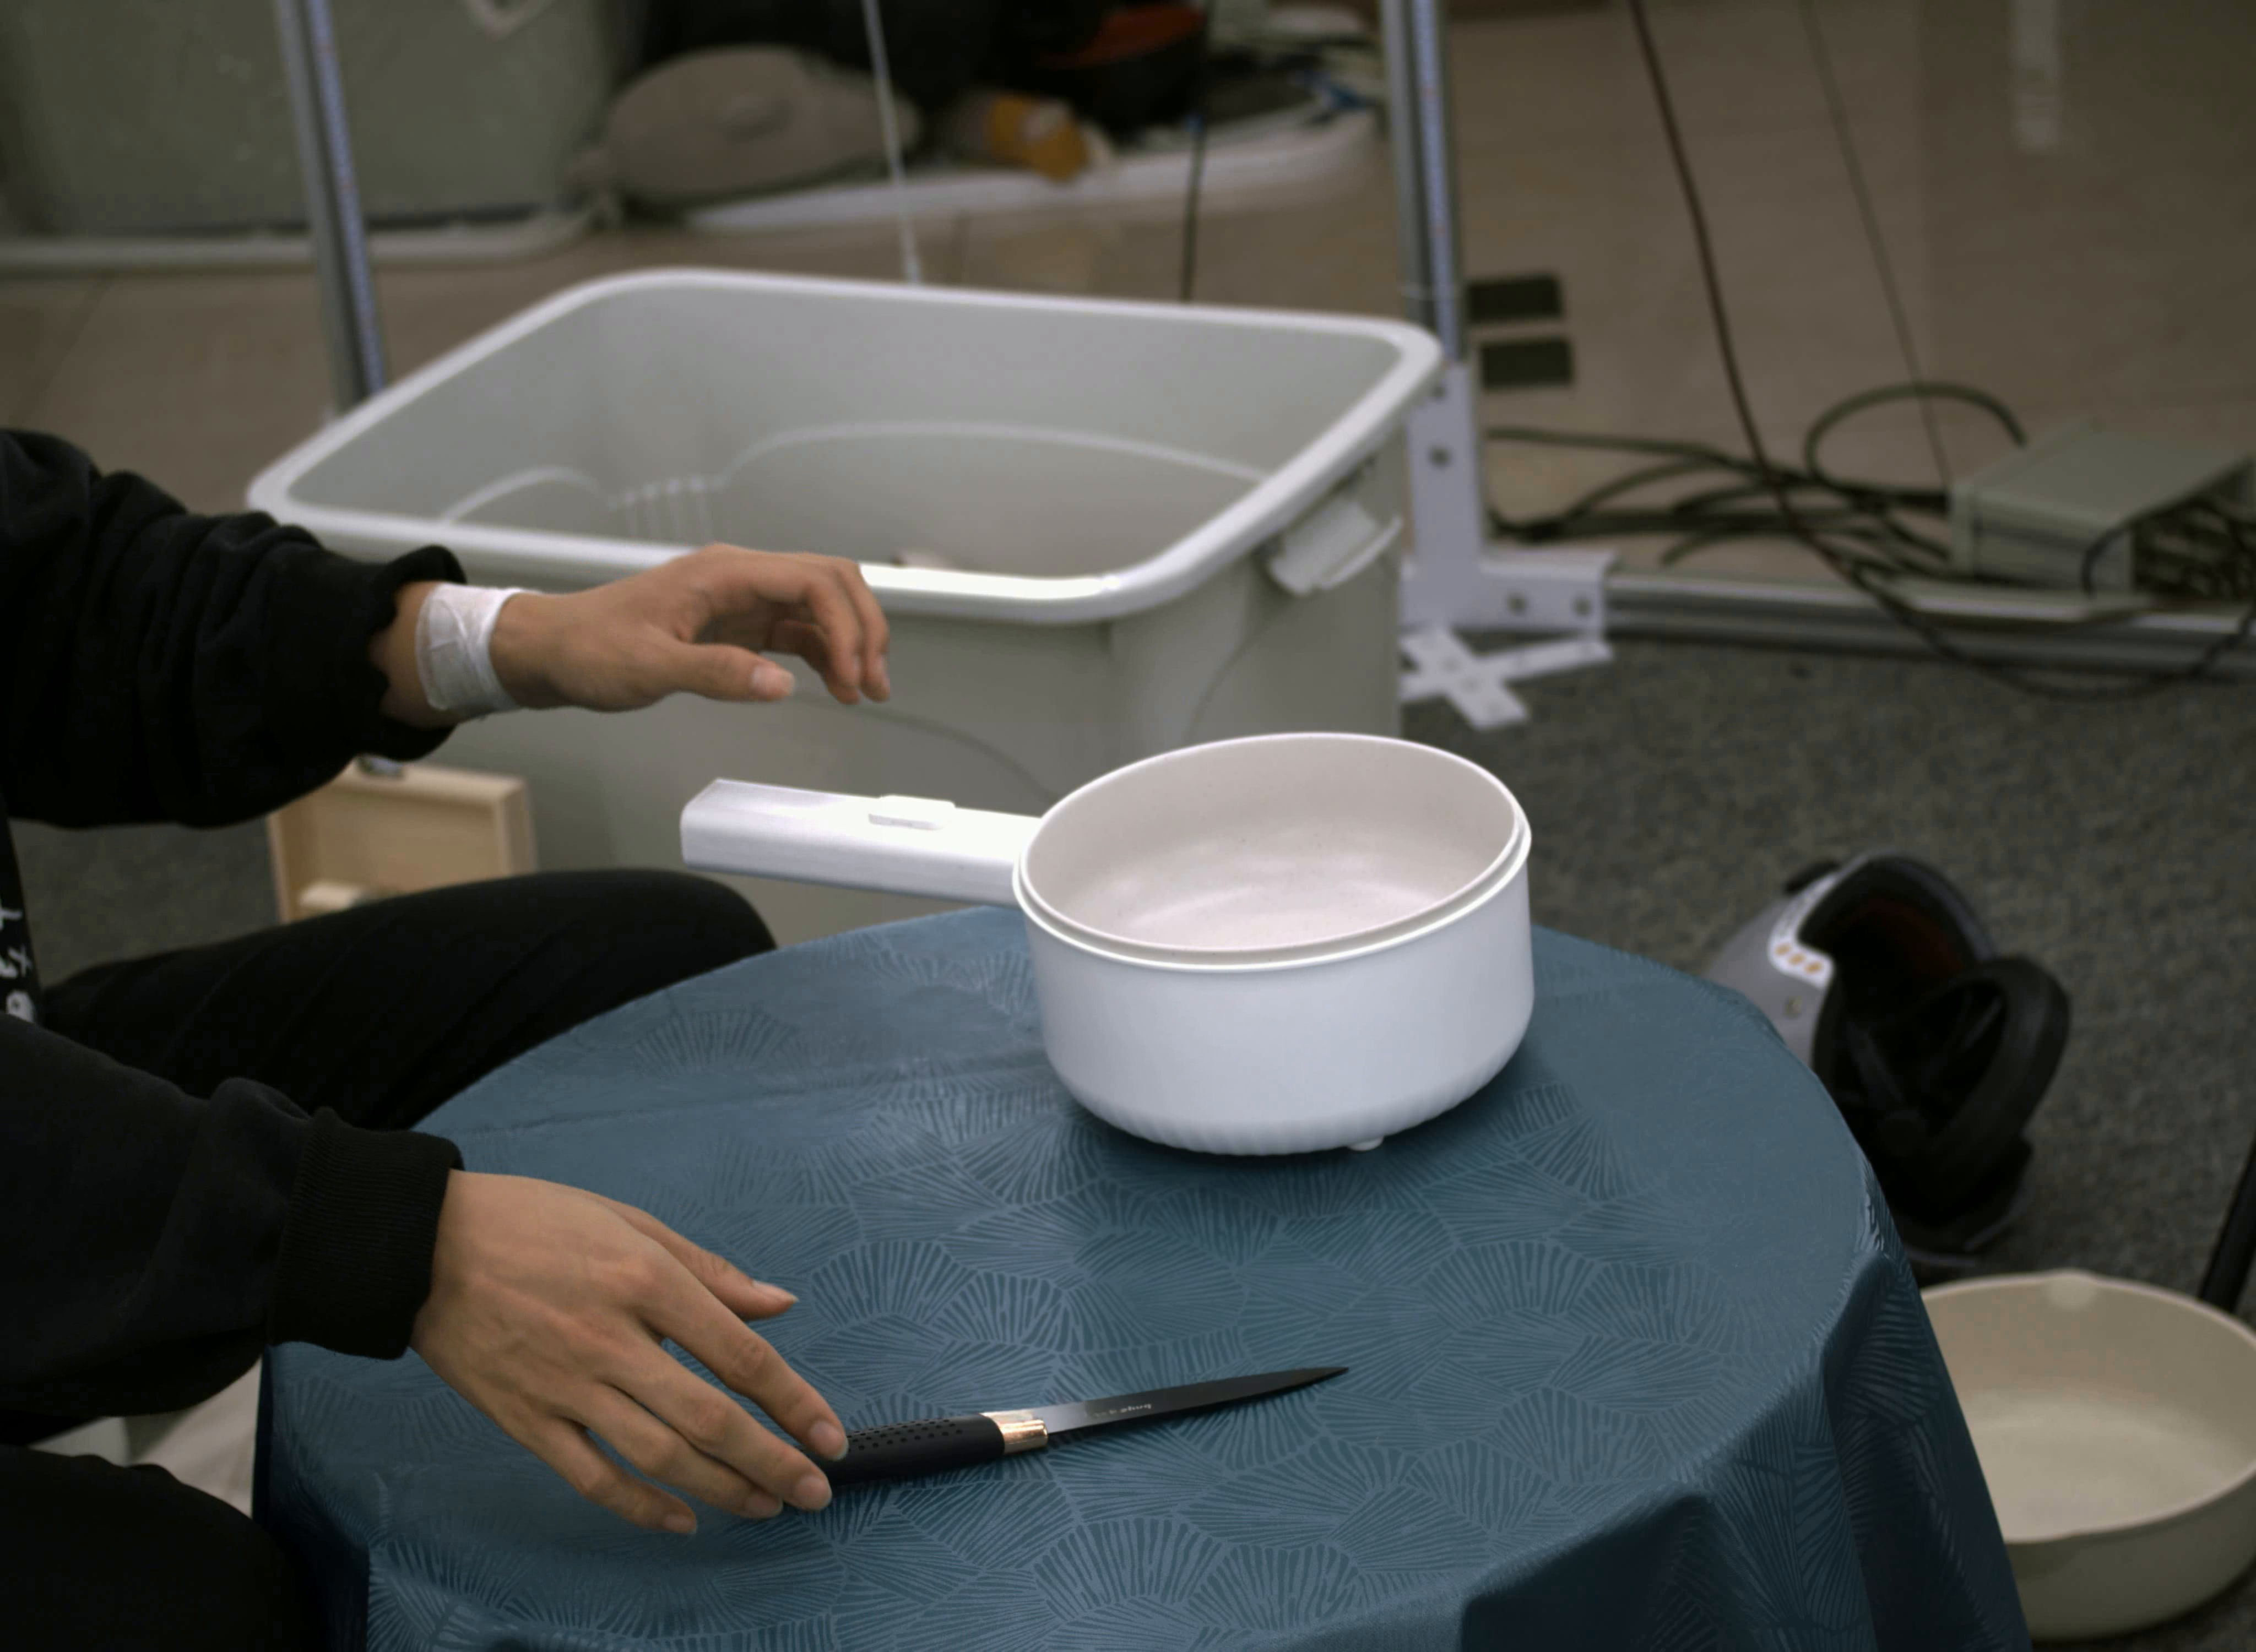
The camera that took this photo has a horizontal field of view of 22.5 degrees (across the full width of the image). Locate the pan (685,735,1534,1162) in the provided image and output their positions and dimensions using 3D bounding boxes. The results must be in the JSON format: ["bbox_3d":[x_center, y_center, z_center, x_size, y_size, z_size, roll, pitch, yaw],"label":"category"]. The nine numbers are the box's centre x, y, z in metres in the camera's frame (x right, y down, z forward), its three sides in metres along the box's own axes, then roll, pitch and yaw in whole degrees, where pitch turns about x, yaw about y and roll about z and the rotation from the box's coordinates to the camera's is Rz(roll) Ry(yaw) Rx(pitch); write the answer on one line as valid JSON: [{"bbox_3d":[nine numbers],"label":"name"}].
[{"bbox_3d":[-0.010,0.045,2.239,0.353,0.104,0.198,5,29,25],"label":"pan"}]

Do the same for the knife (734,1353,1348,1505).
[{"bbox_3d":[-0.029,0.210,1.995,0.225,0.017,0.026,-10,9,-11],"label":"knife"}]
